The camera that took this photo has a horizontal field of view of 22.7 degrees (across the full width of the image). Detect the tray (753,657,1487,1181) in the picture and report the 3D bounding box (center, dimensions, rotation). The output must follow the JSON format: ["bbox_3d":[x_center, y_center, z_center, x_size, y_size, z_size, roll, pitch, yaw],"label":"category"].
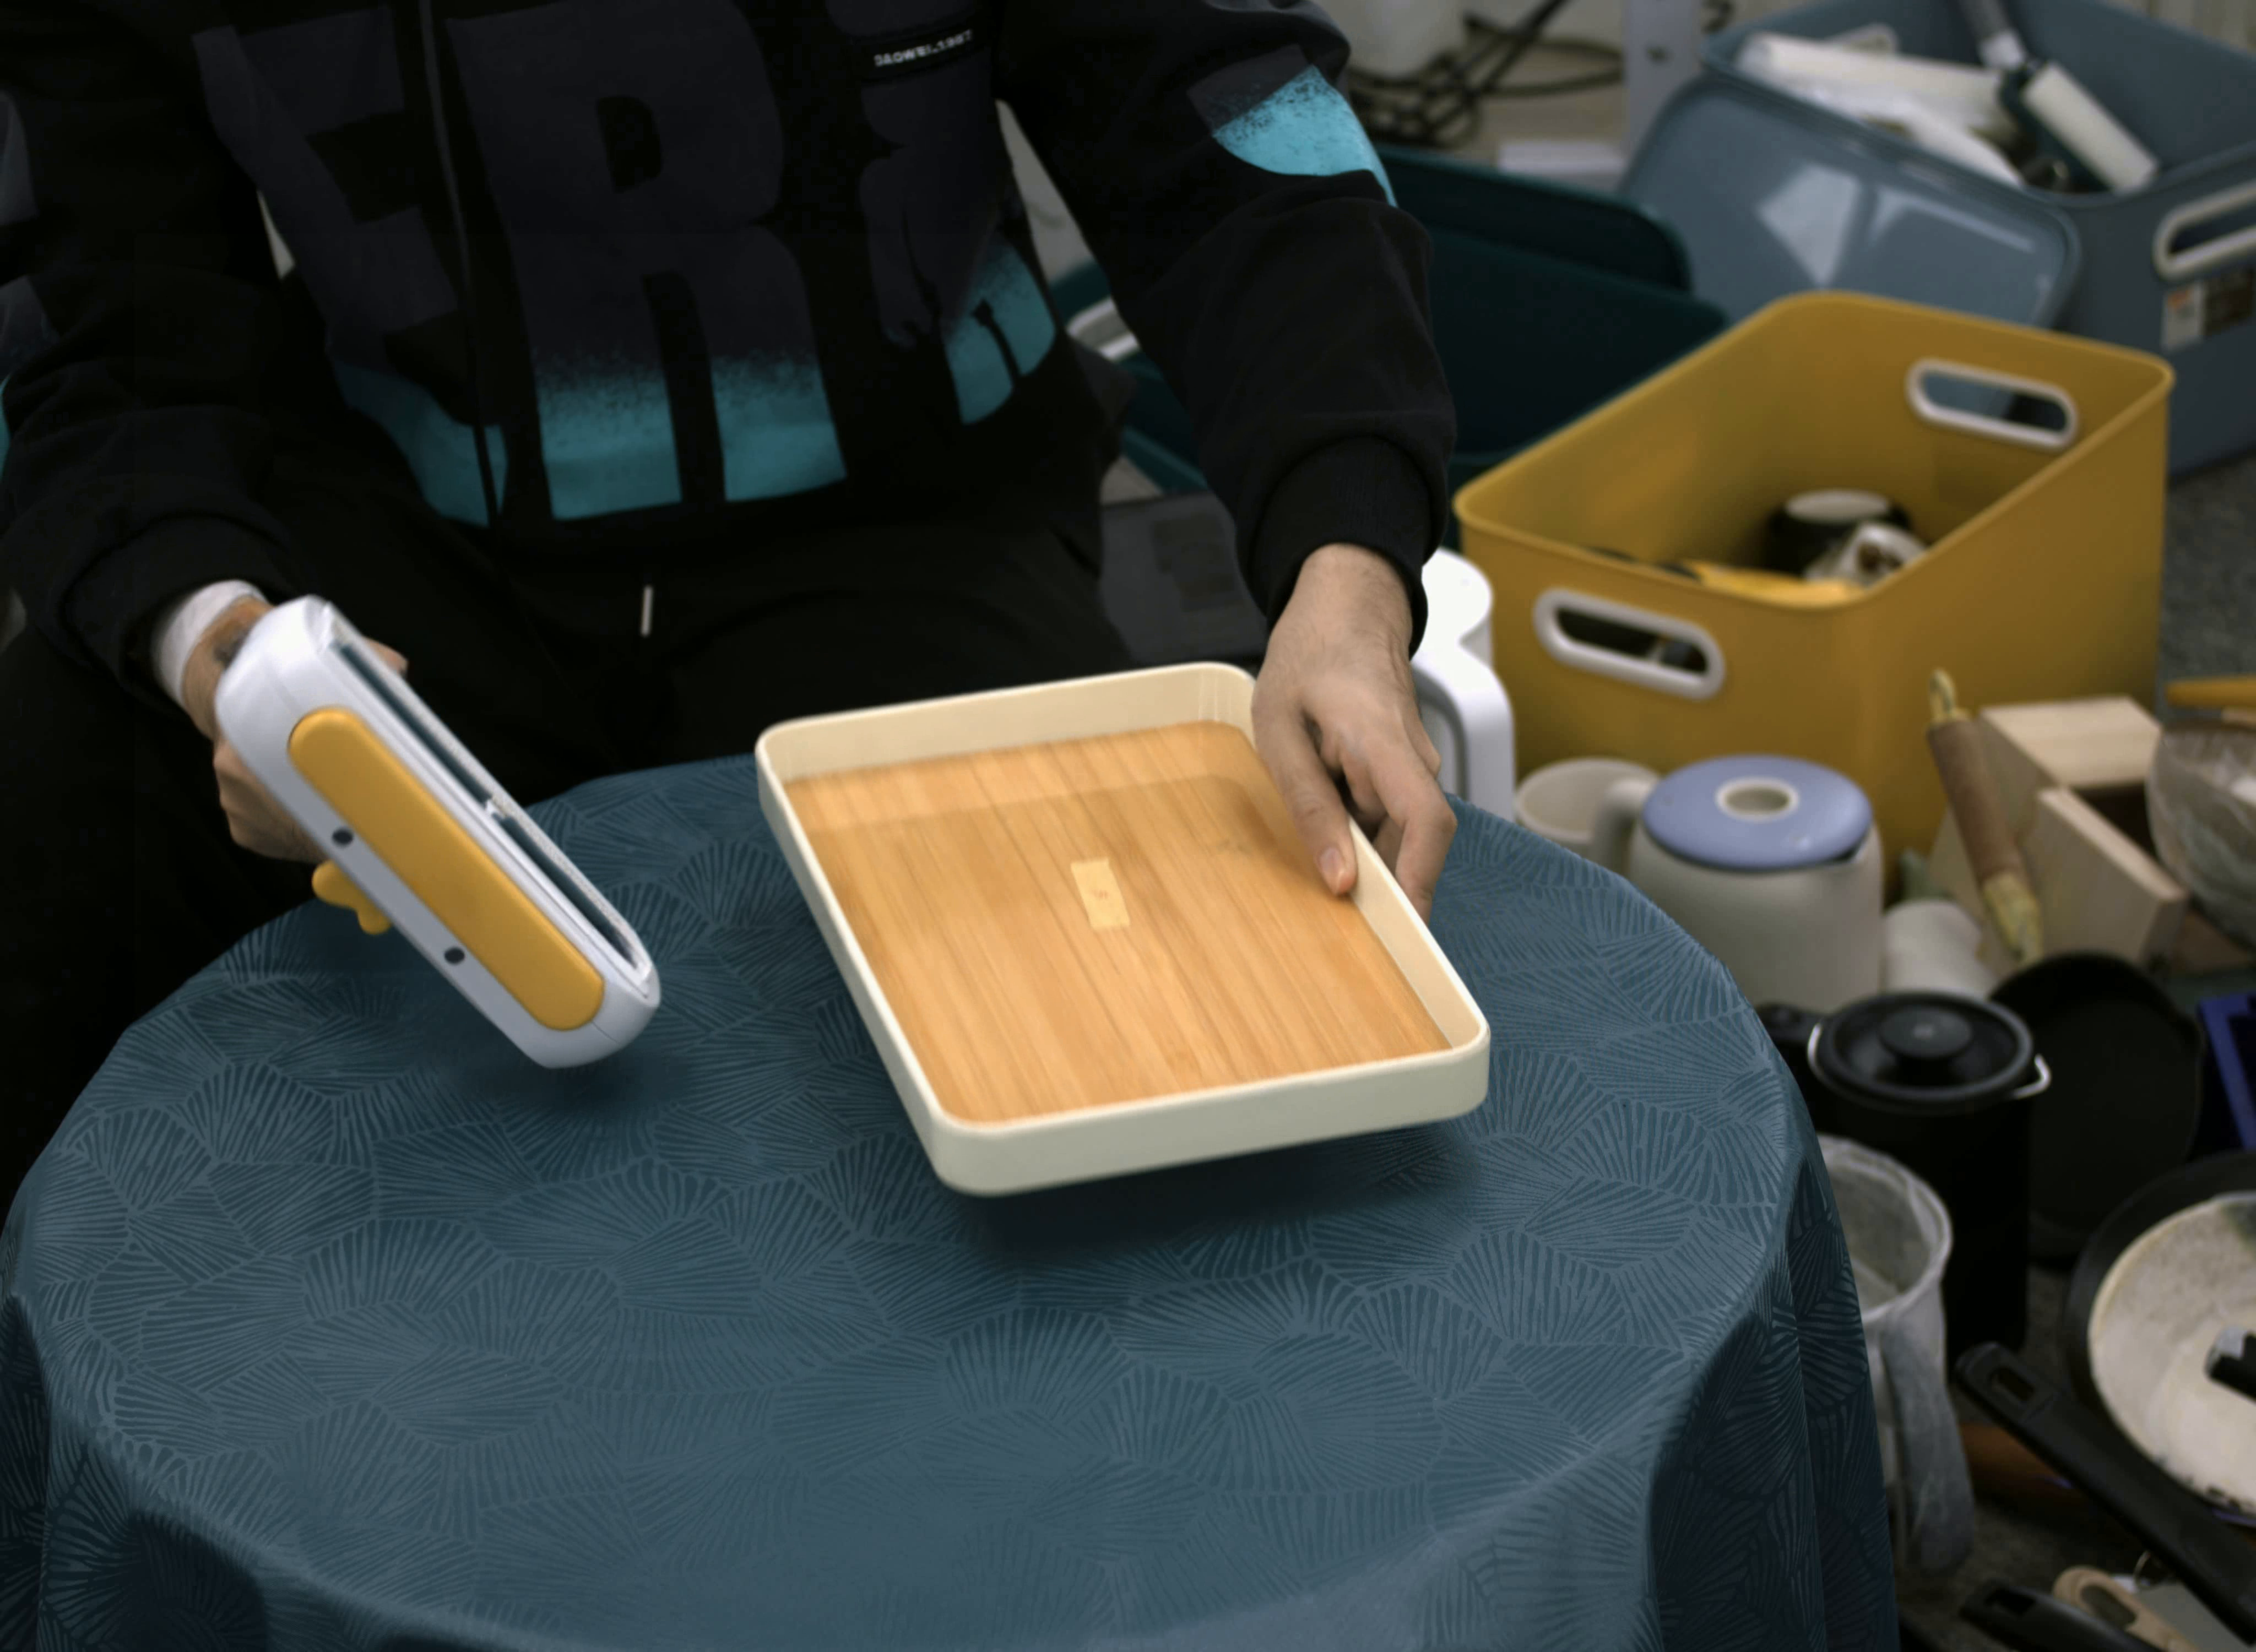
[{"bbox_3d":[-0.009,0.026,1.938,0.191,0.027,0.303,-8,28,-14],"label":"tray"}]

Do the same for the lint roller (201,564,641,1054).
[{"bbox_3d":[-0.253,-0.013,1.952,0.074,0.192,0.193,-43,18,2],"label":"lint roller"}]
